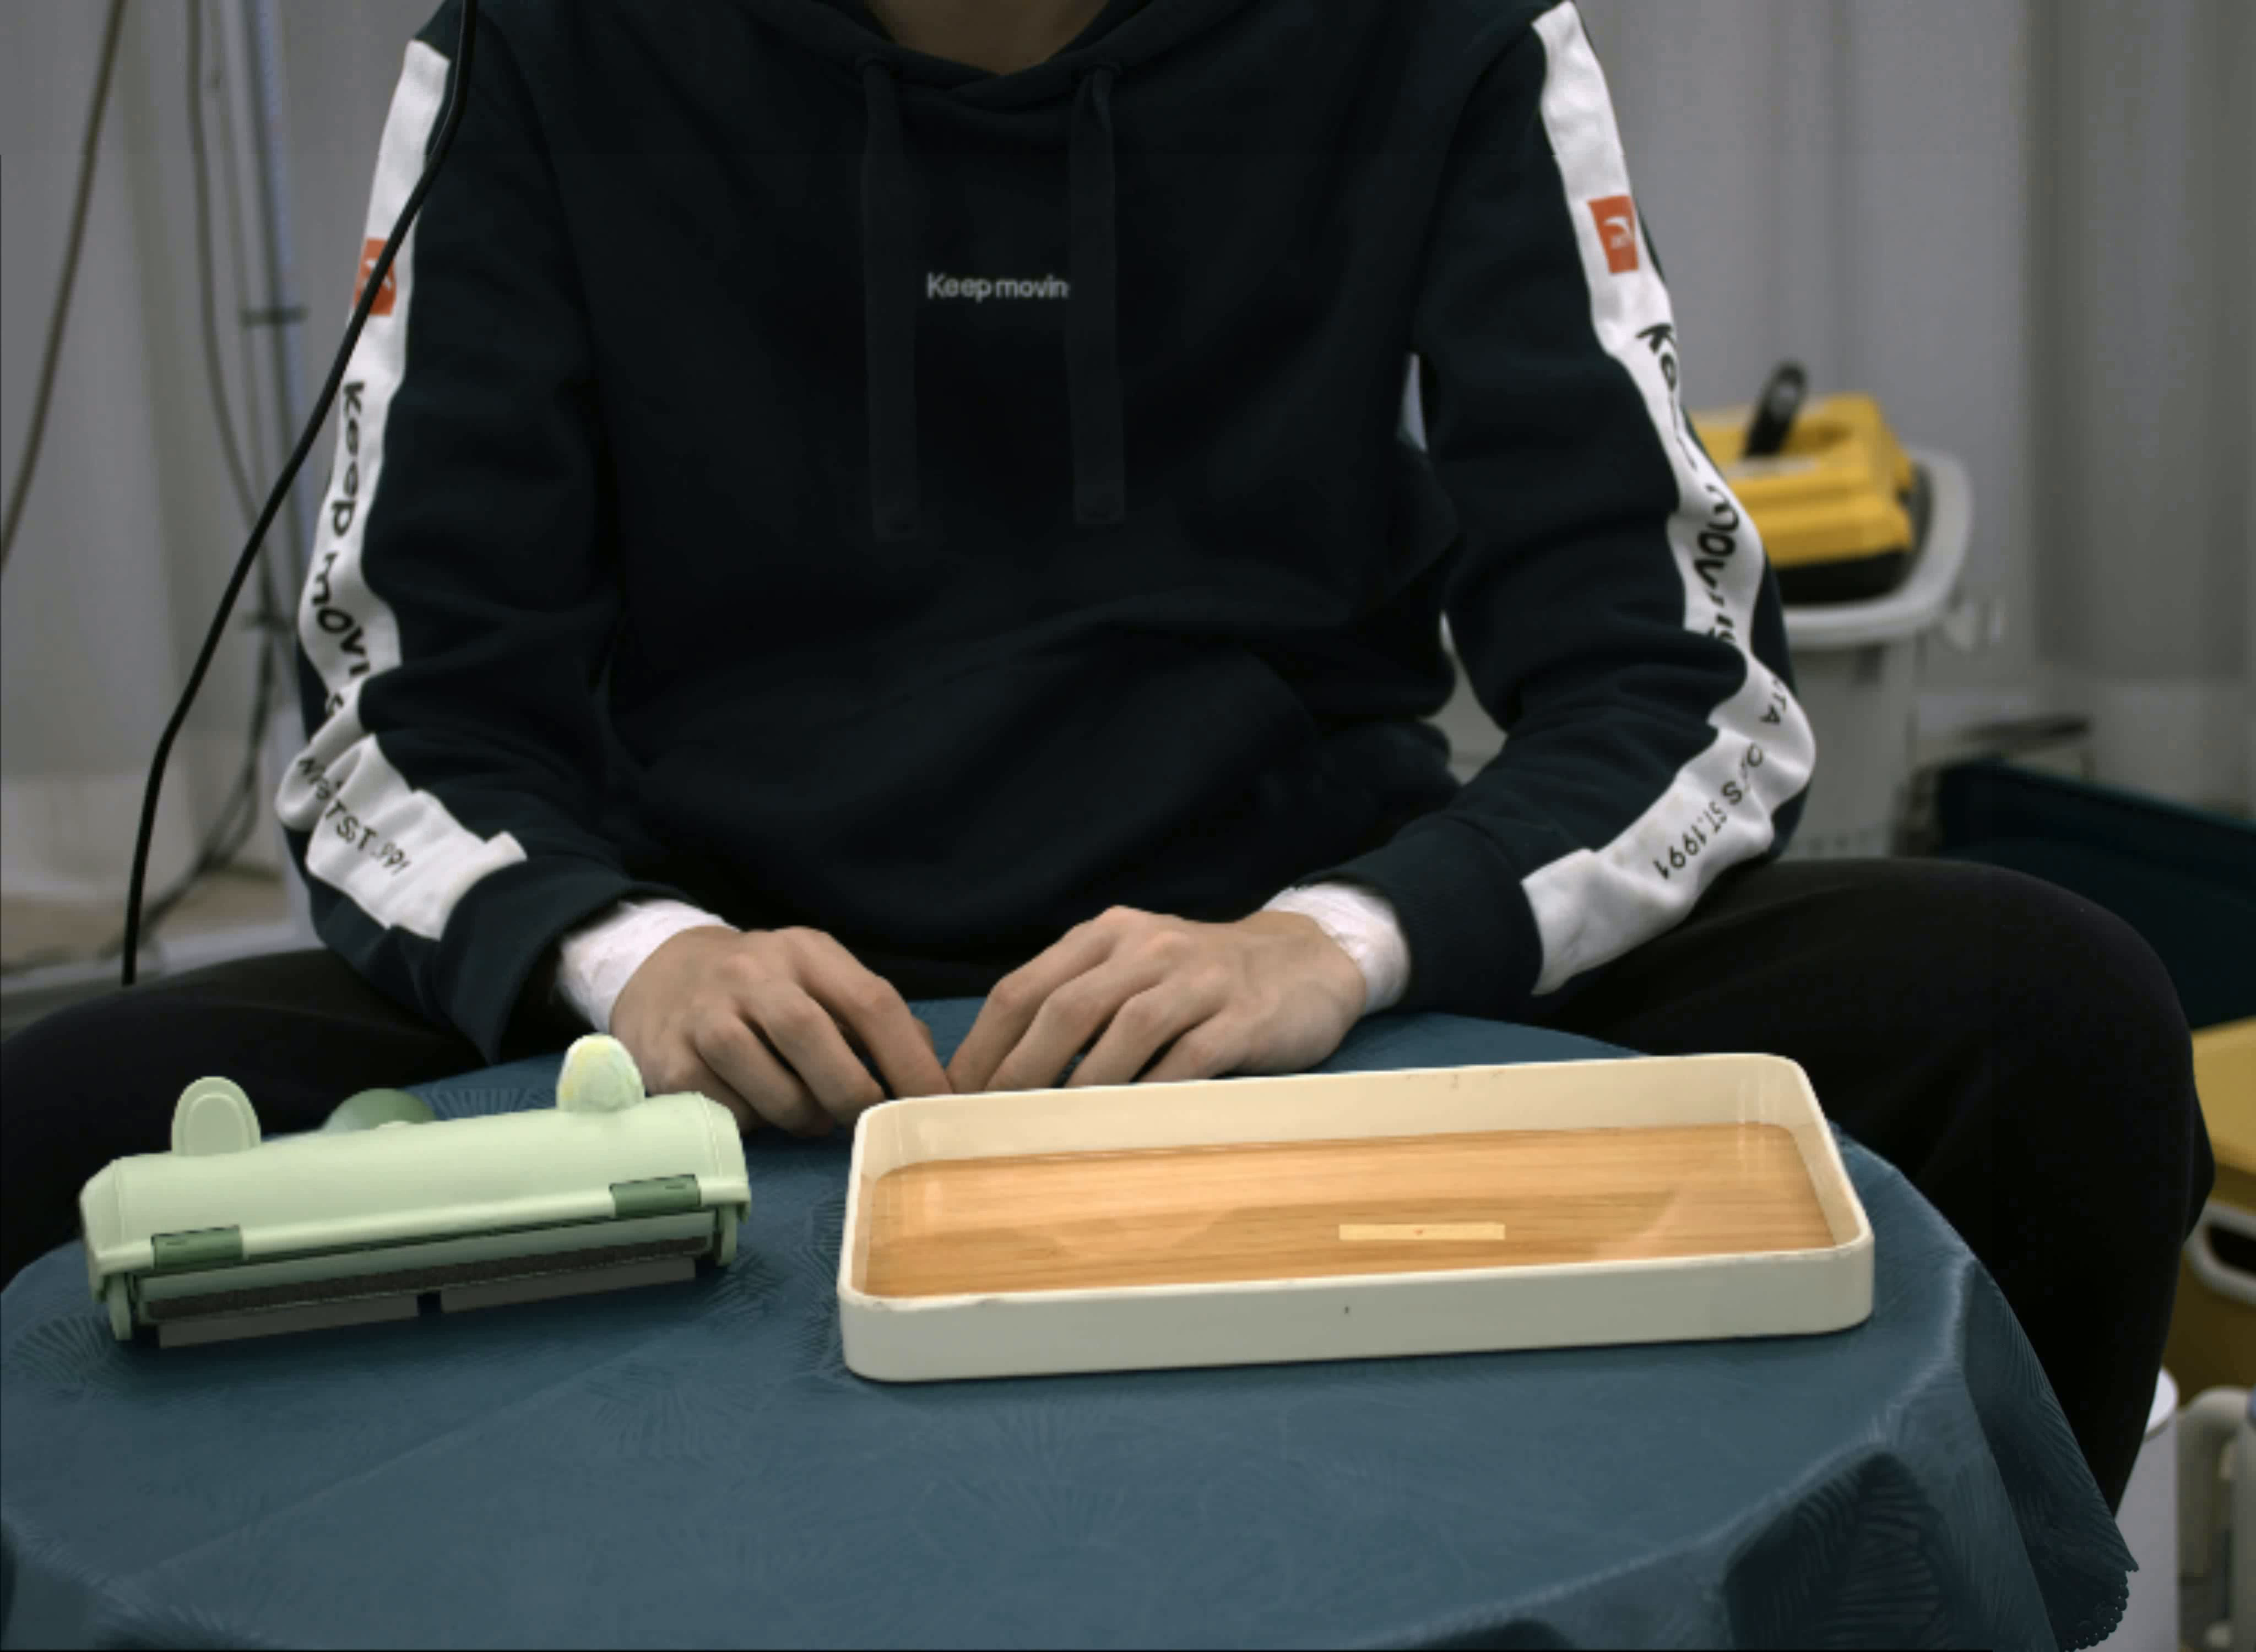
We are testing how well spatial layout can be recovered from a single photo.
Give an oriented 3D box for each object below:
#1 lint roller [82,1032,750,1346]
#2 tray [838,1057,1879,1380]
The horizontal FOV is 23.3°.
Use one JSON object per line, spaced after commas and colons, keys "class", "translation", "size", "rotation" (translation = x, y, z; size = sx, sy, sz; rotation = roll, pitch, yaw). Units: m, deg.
{"class": "lint roller", "translation": [-0.226, 0.094, 1.692], "size": [0.198, 0.082, 0.185], "rotation": [-6, 19, -12]}
{"class": "tray", "translation": [0.065, 0.116, 1.643], "size": [0.299, 0.027, 0.193], "rotation": [-3, 14, 0]}
